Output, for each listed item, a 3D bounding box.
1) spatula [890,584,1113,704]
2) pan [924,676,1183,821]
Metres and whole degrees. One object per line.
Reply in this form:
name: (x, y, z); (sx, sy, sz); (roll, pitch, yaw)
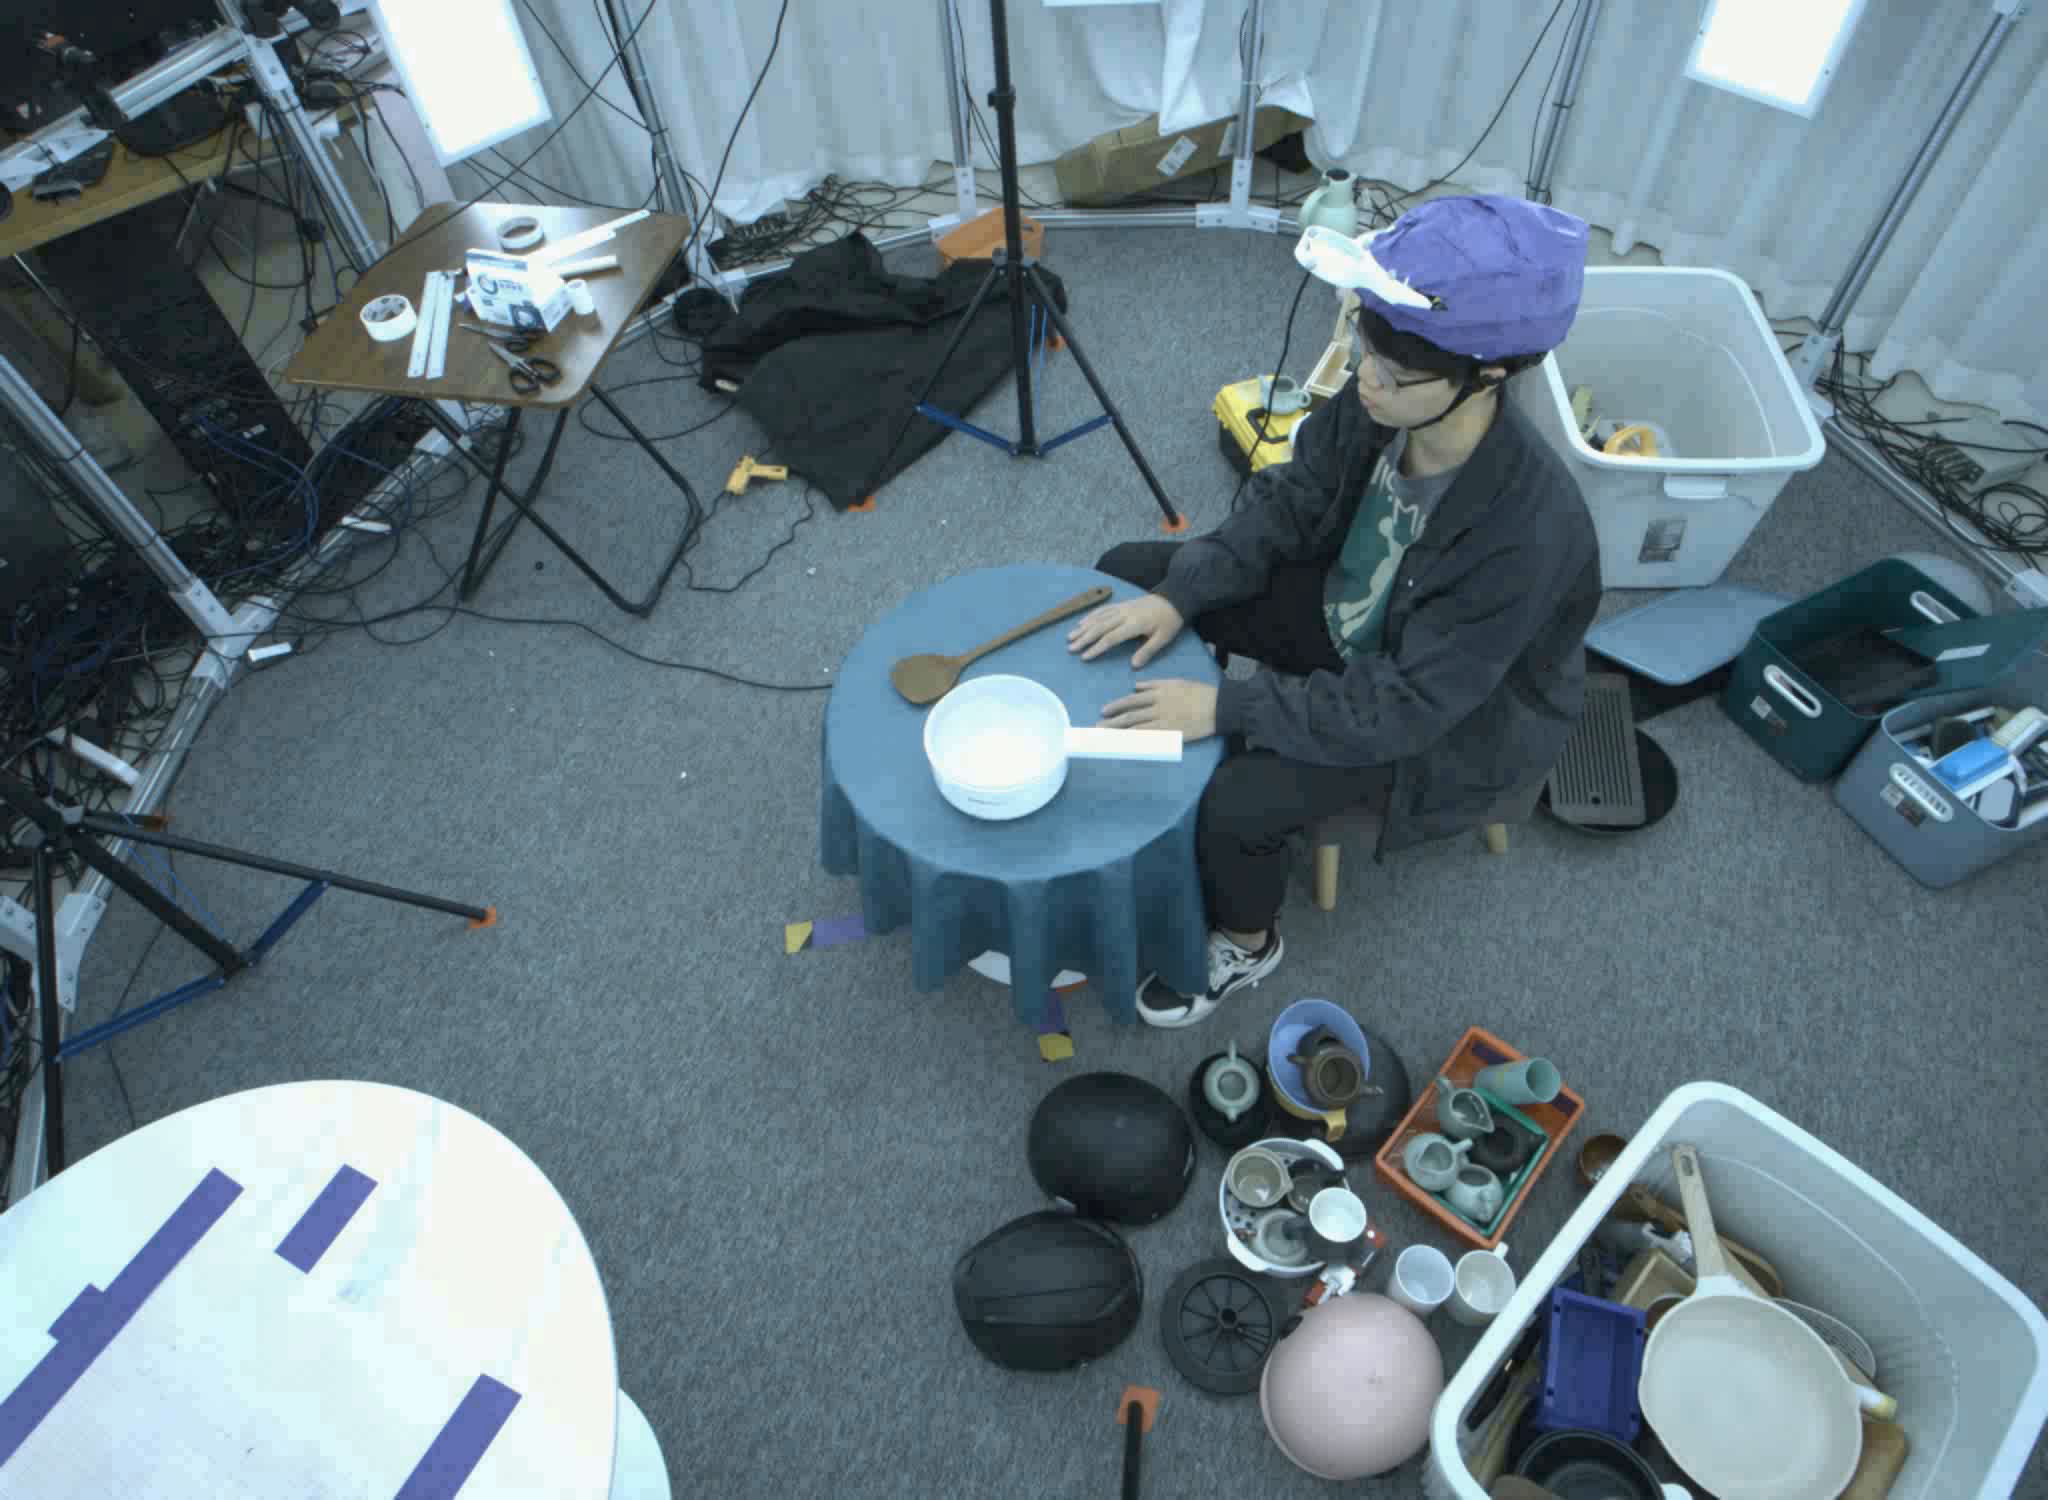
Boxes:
spatula: (-0.026, -0.176, 1.897); (0.389, 0.016, 0.094); (-27, 58, -17)
pan: (0.041, 0.007, 1.714); (0.354, 0.103, 0.199); (4, 54, 3)
